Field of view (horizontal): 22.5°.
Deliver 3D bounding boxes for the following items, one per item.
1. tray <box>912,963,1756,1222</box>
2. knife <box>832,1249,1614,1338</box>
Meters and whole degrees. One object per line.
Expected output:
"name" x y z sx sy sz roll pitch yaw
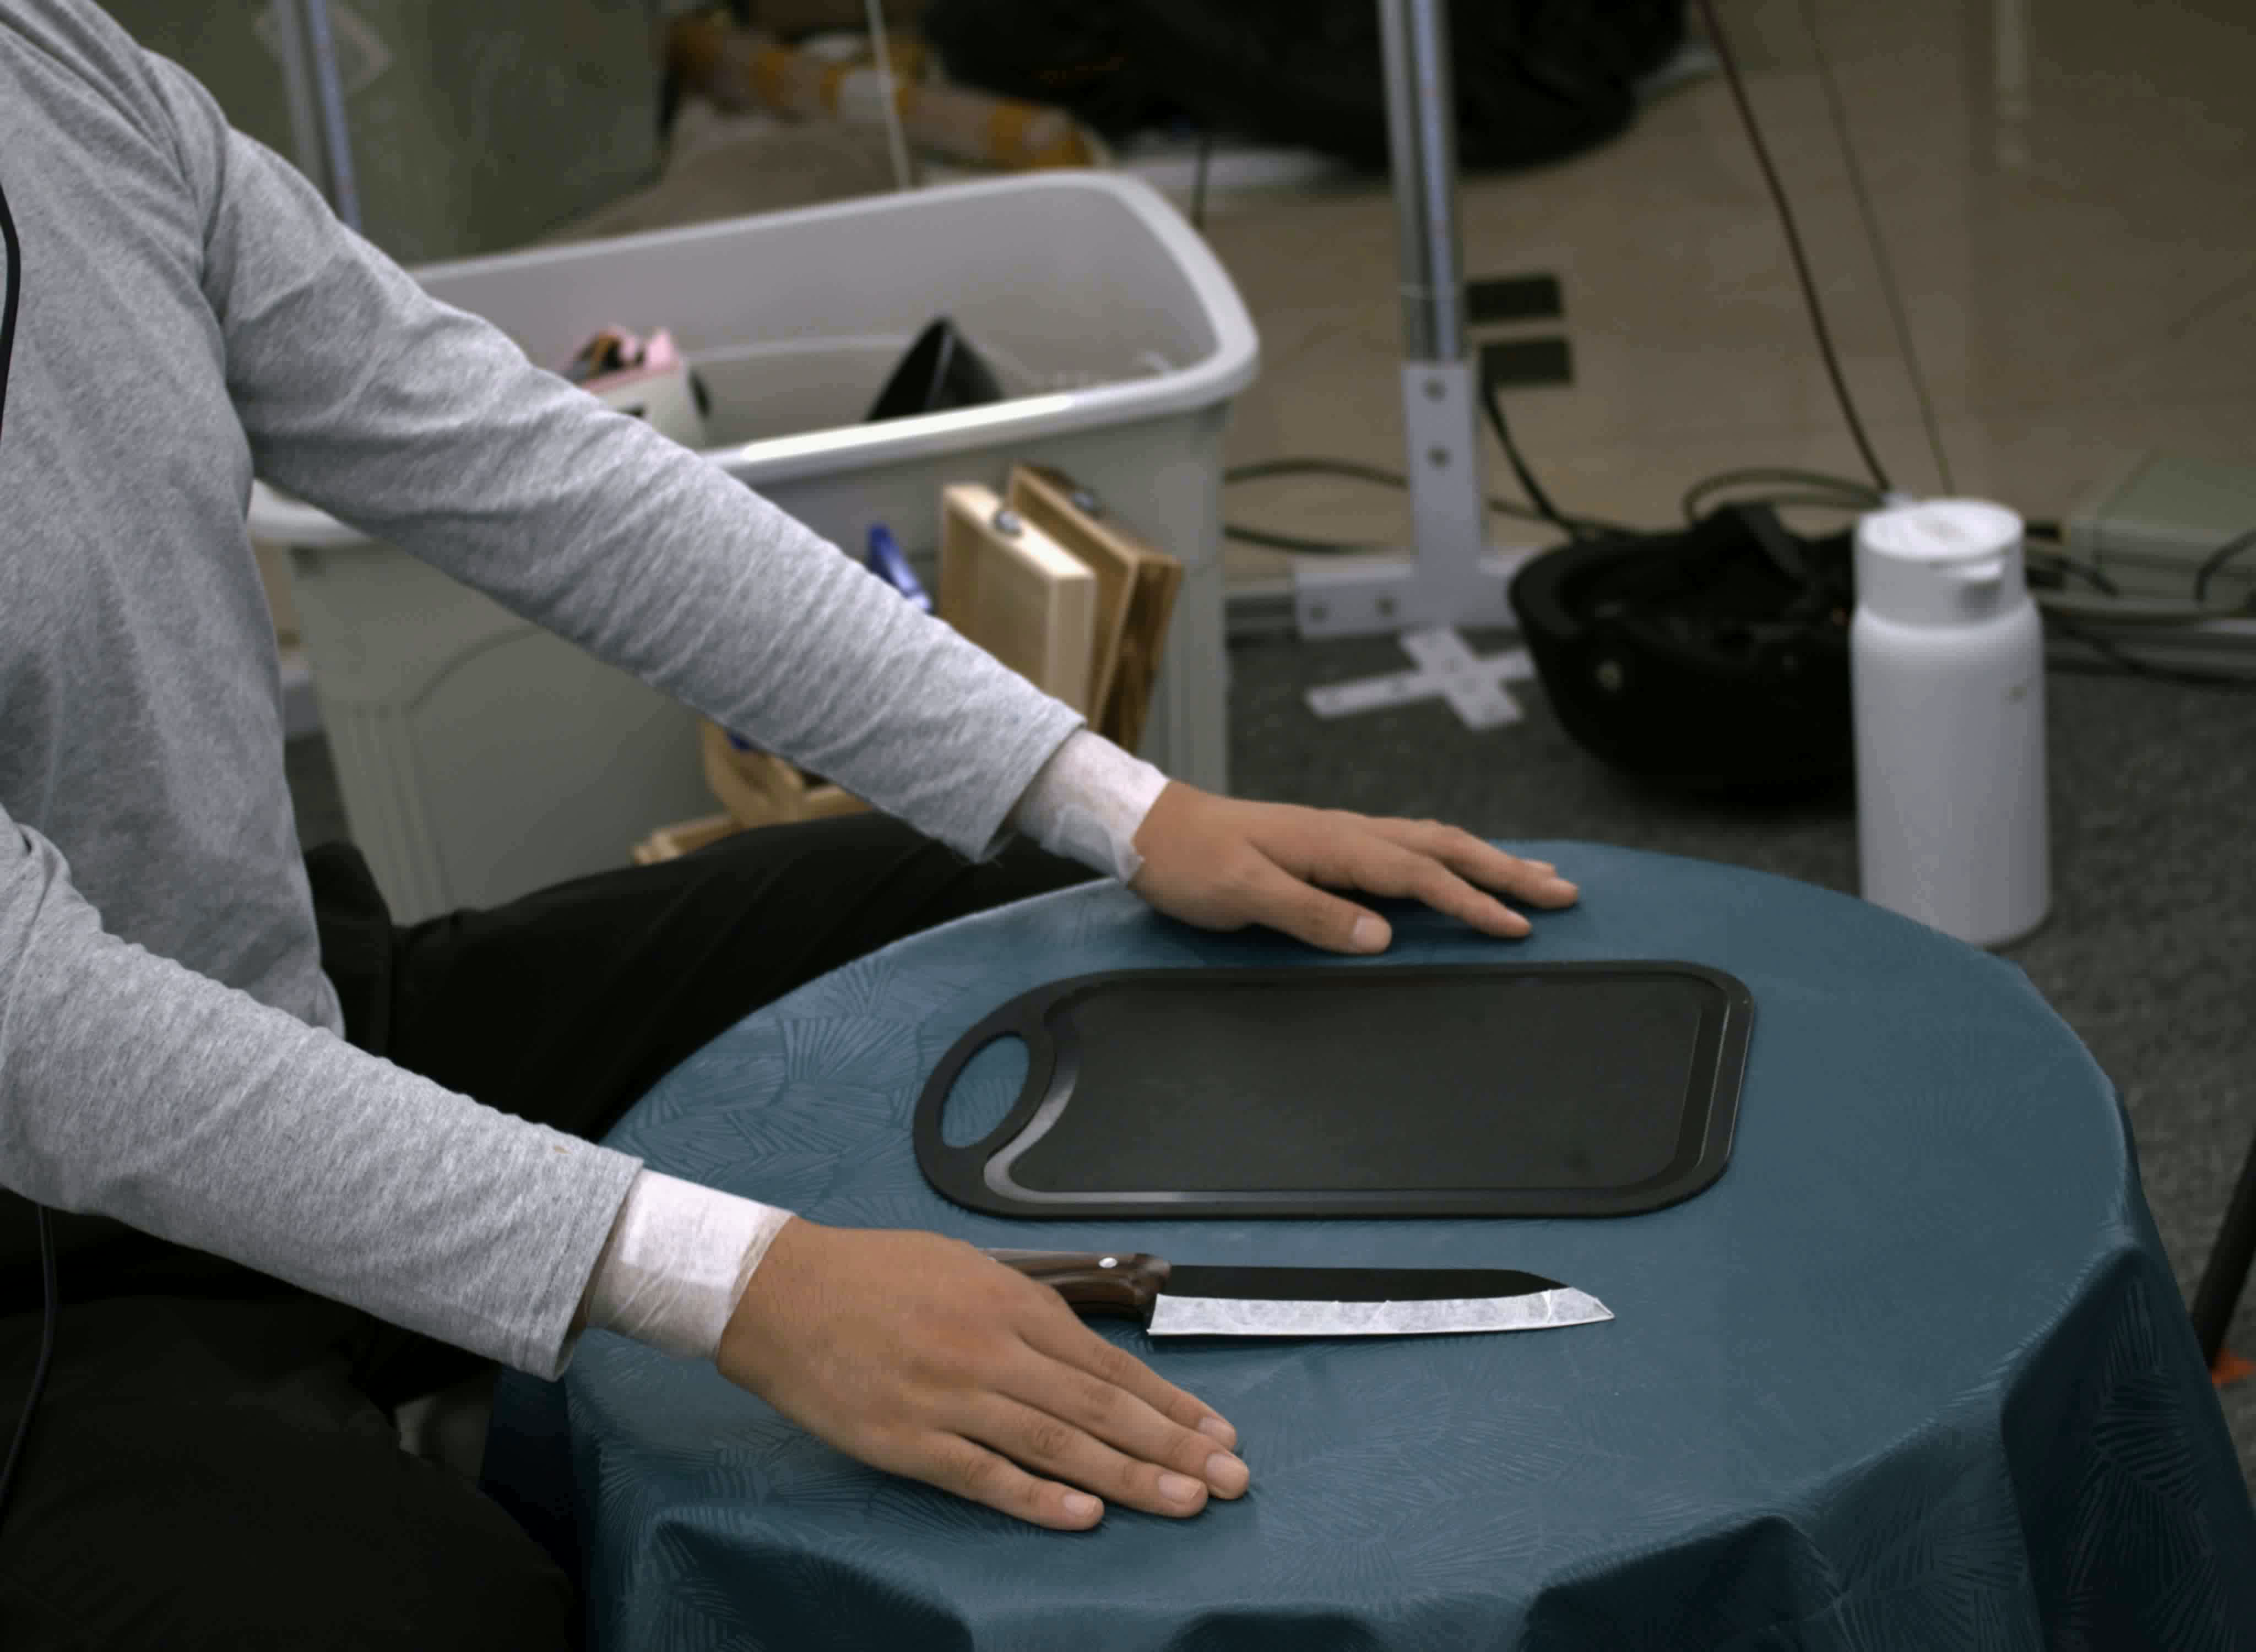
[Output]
"tray" 0.077 0.101 2.209 0.325 0.010 0.208 -1 25 13
"knife" 0.032 0.171 2.057 0.288 0.020 0.049 1 31 10
